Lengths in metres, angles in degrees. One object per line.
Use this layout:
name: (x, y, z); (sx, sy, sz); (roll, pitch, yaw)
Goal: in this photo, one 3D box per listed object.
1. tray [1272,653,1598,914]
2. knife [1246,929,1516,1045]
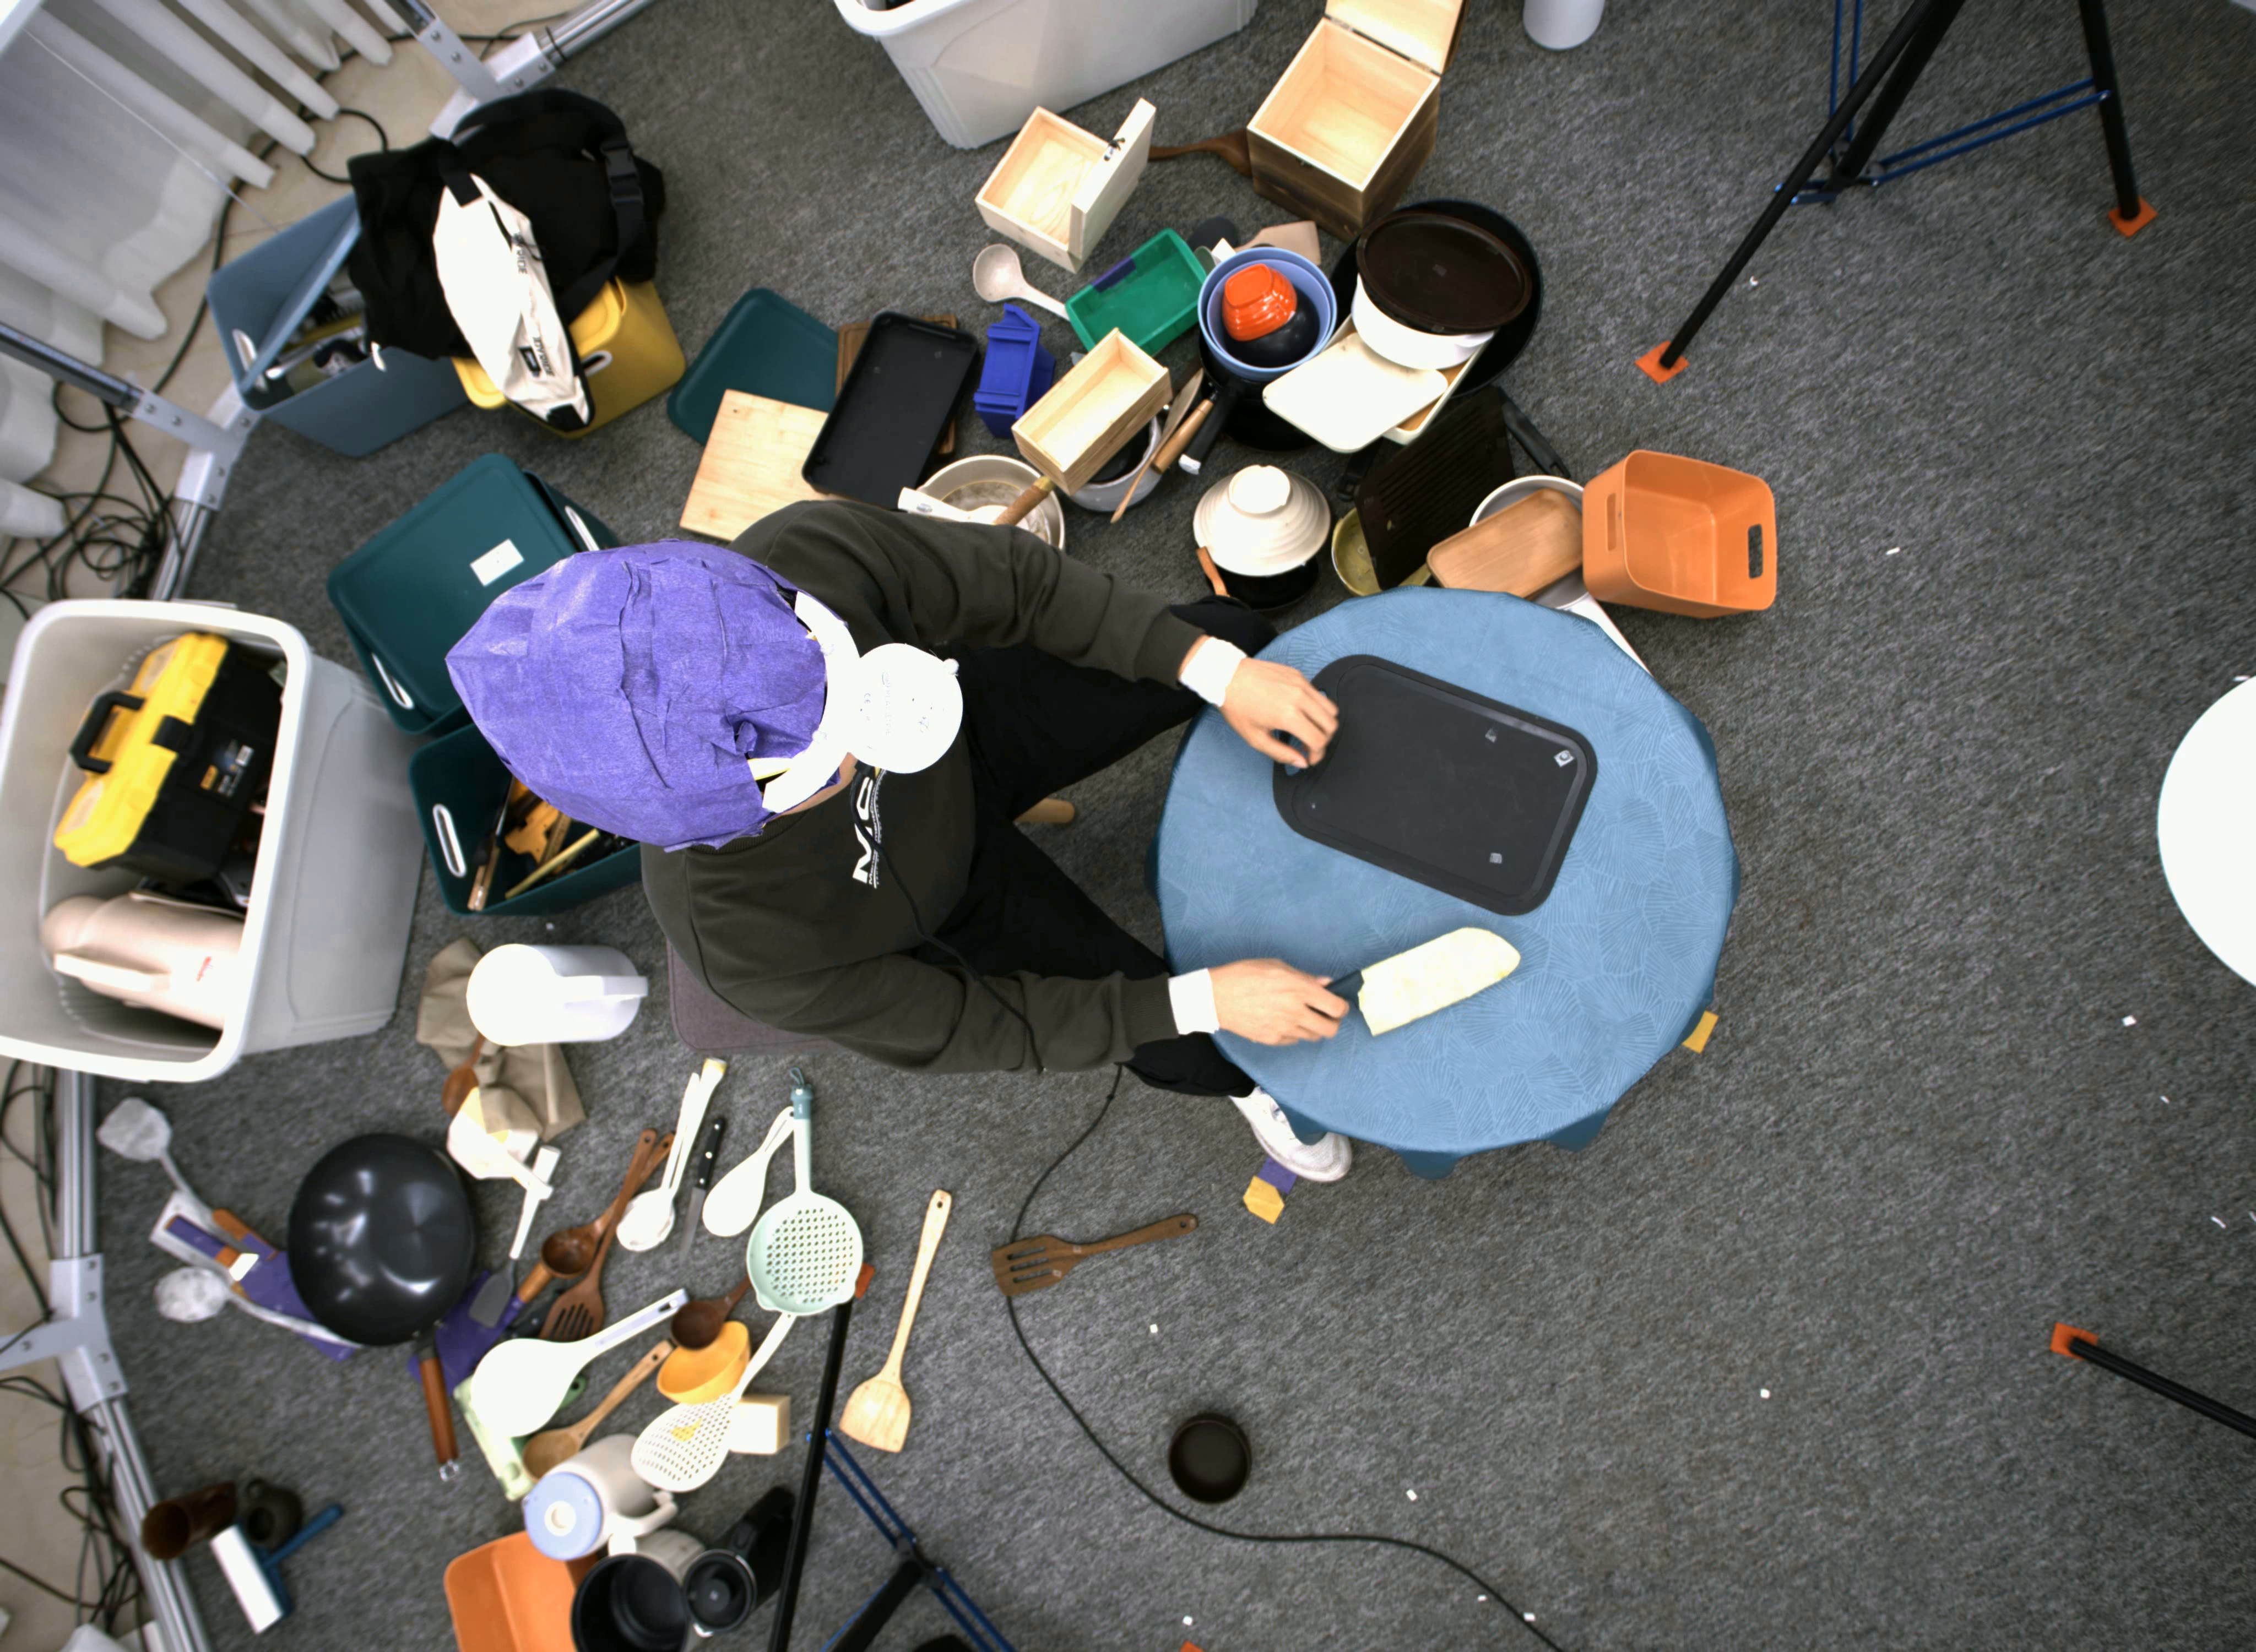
tray: (0.315, -0.052, 1.454); (0.325, 0.010, 0.211); (22, 91, 11)
knife: (0.263, 0.176, 1.430); (0.291, 0.027, 0.082); (-21, 103, 7)
